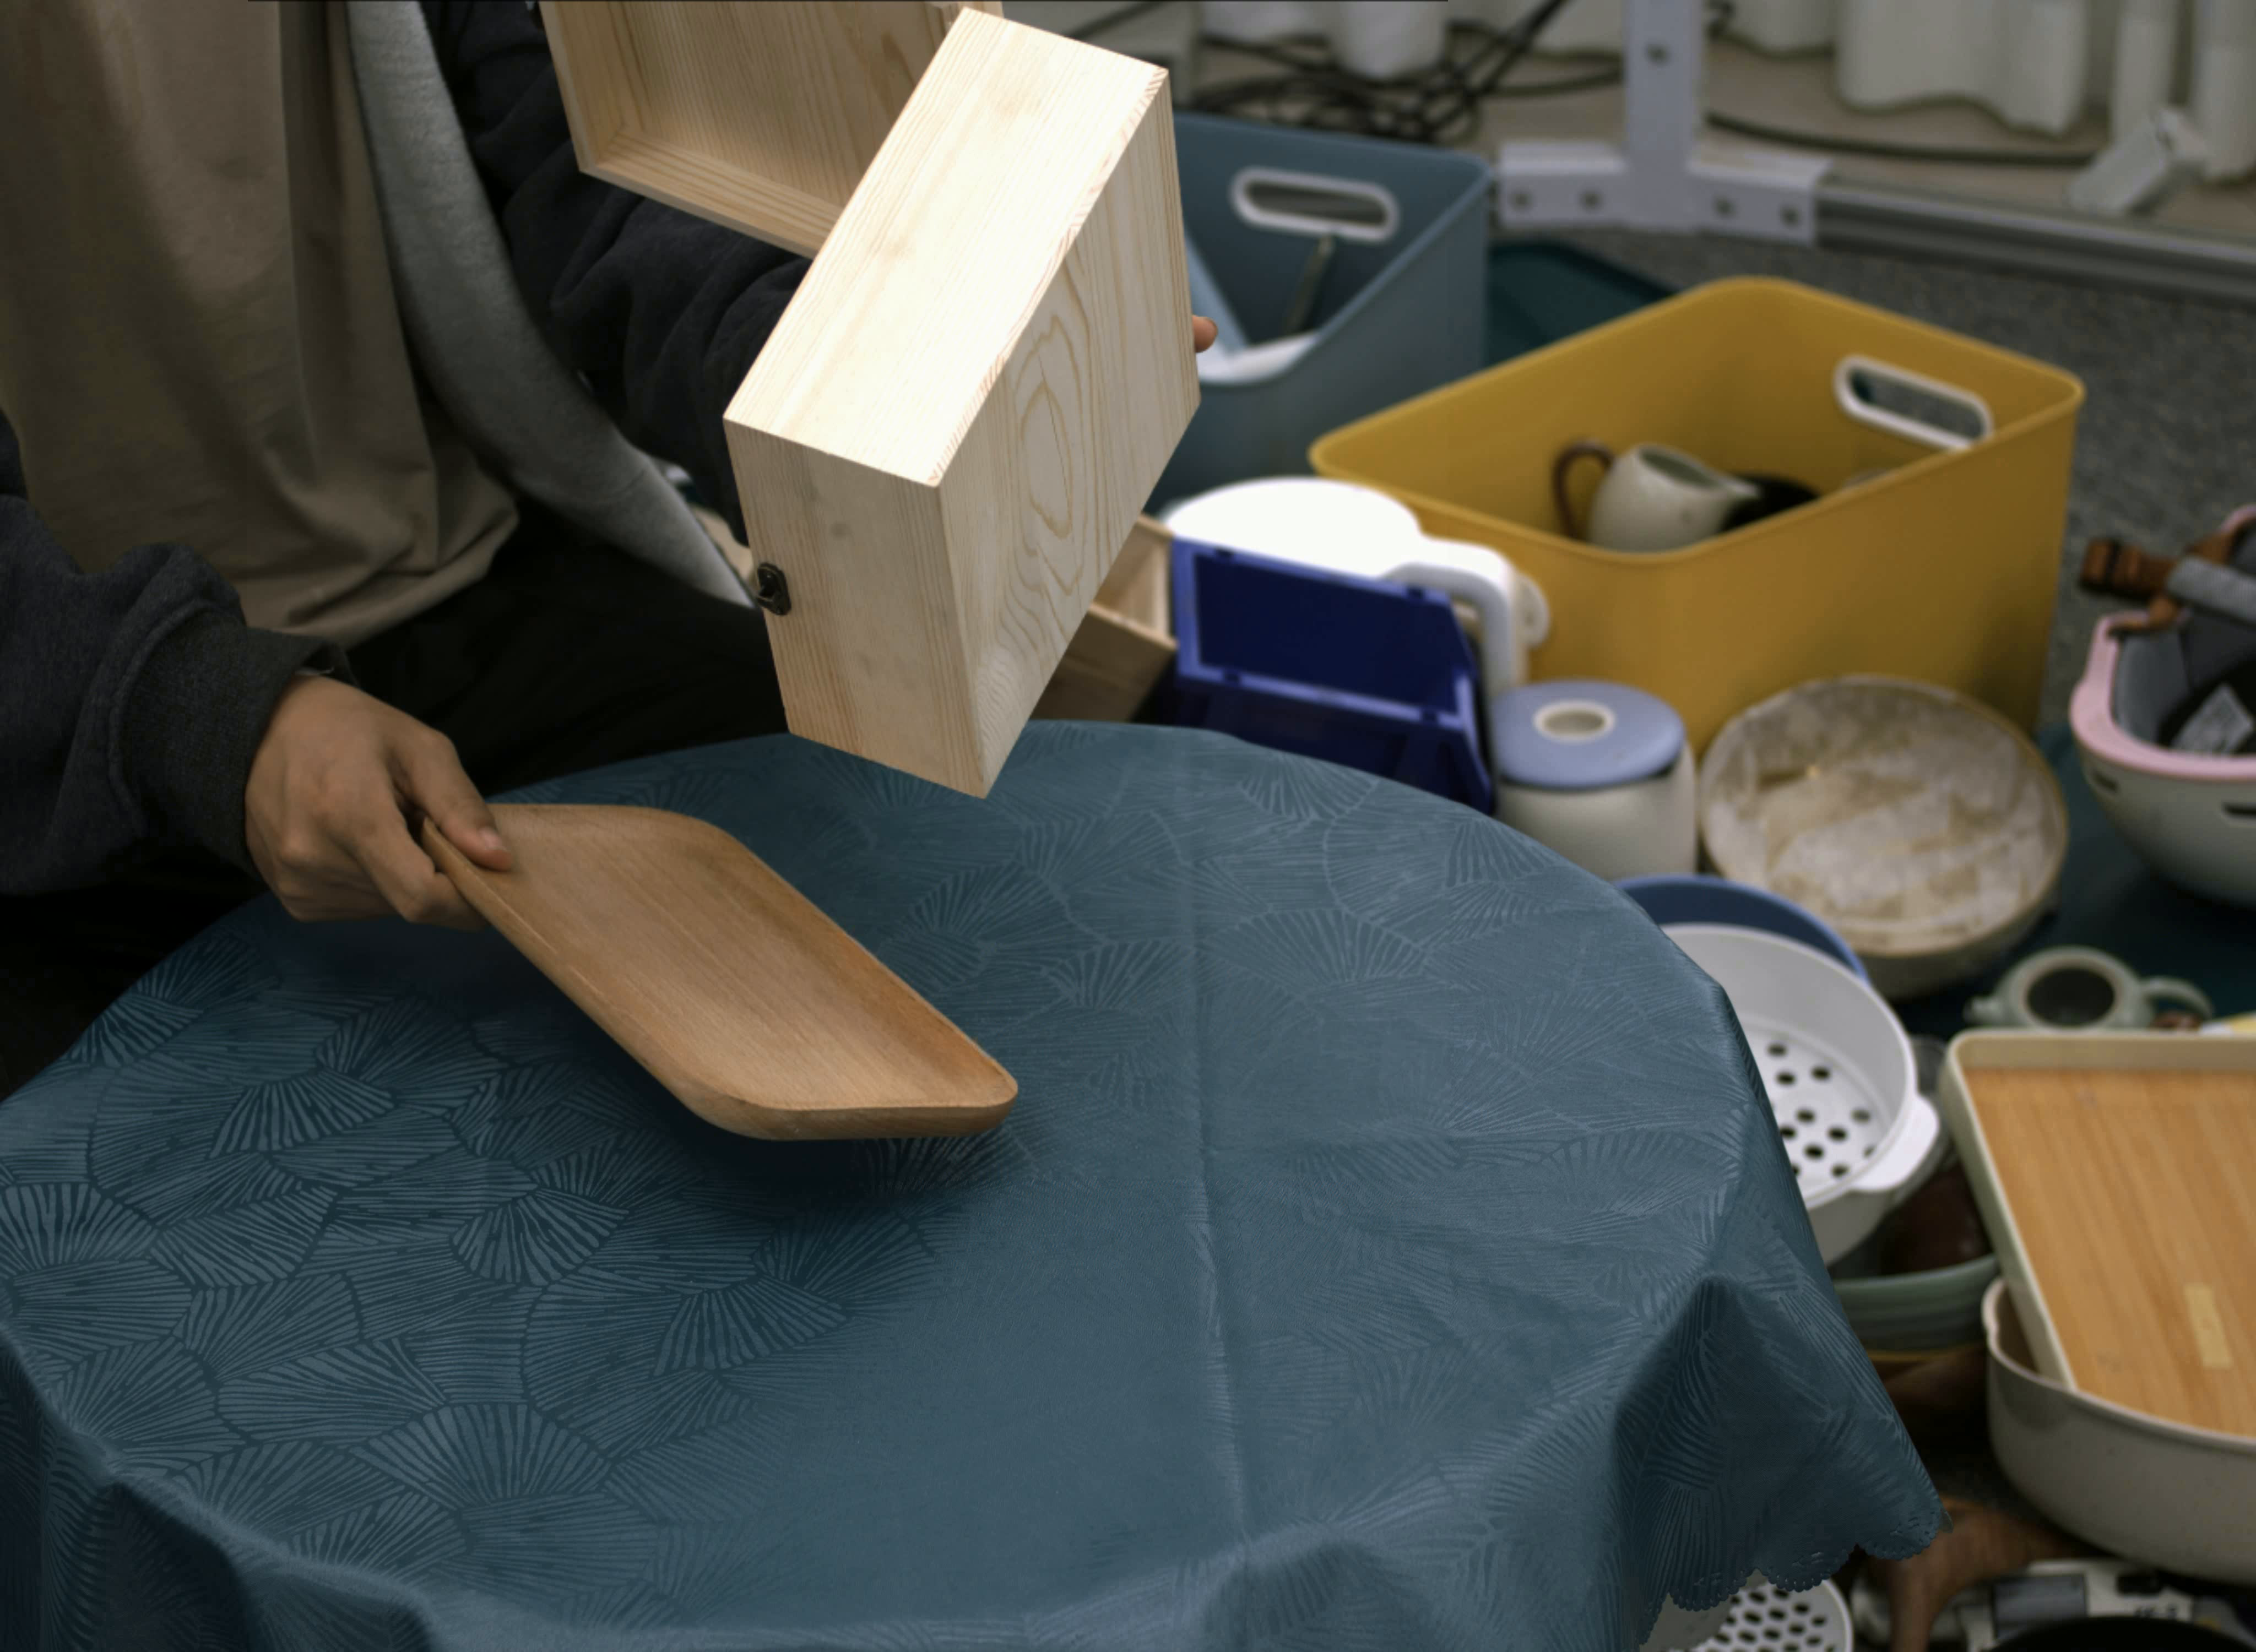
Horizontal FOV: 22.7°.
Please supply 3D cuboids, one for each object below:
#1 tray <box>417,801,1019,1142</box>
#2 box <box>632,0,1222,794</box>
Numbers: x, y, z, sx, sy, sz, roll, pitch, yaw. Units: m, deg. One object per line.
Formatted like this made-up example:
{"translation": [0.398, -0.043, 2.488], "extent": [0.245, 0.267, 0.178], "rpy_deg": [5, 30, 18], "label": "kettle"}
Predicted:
{"translation": [-0.144, 0.049, 1.932], "extent": [0.131, 0.023, 0.252], "rpy_deg": [5, 20, -36], "label": "tray"}
{"translation": [-0.112, -0.192, 1.911], "extent": [0.252, 0.179, 0.270], "rpy_deg": [18, 58, 18], "label": "box"}
